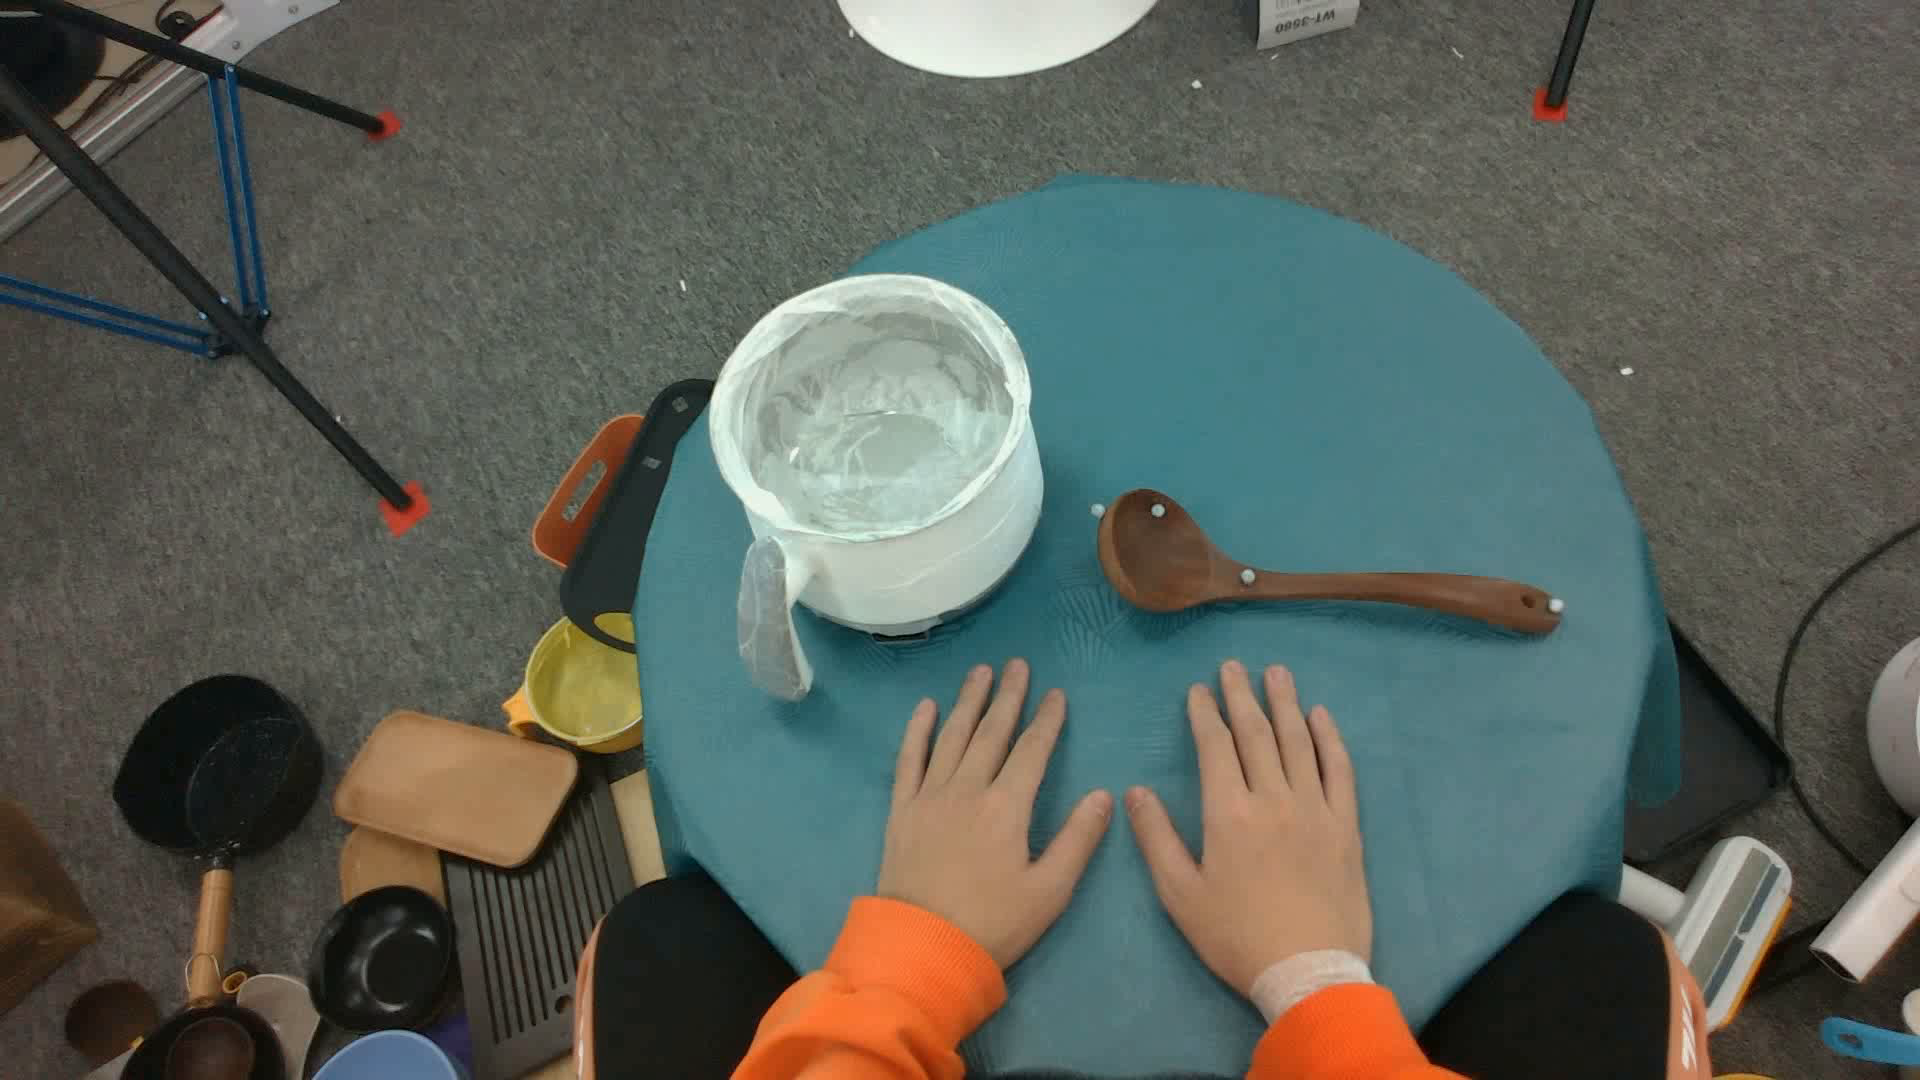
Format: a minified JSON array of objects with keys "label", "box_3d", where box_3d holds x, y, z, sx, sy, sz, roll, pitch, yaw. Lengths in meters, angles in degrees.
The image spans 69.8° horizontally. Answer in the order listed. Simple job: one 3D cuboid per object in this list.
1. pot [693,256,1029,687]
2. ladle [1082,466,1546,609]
[{"label":"pot","box_3d":[-0.063,-0.032,0.788,0.178,0.136,0.234,21,66,19]},{"label":"ladle","box_3d":[0.199,0.006,0.775,0.260,0.065,0.077,6,65,11]}]
